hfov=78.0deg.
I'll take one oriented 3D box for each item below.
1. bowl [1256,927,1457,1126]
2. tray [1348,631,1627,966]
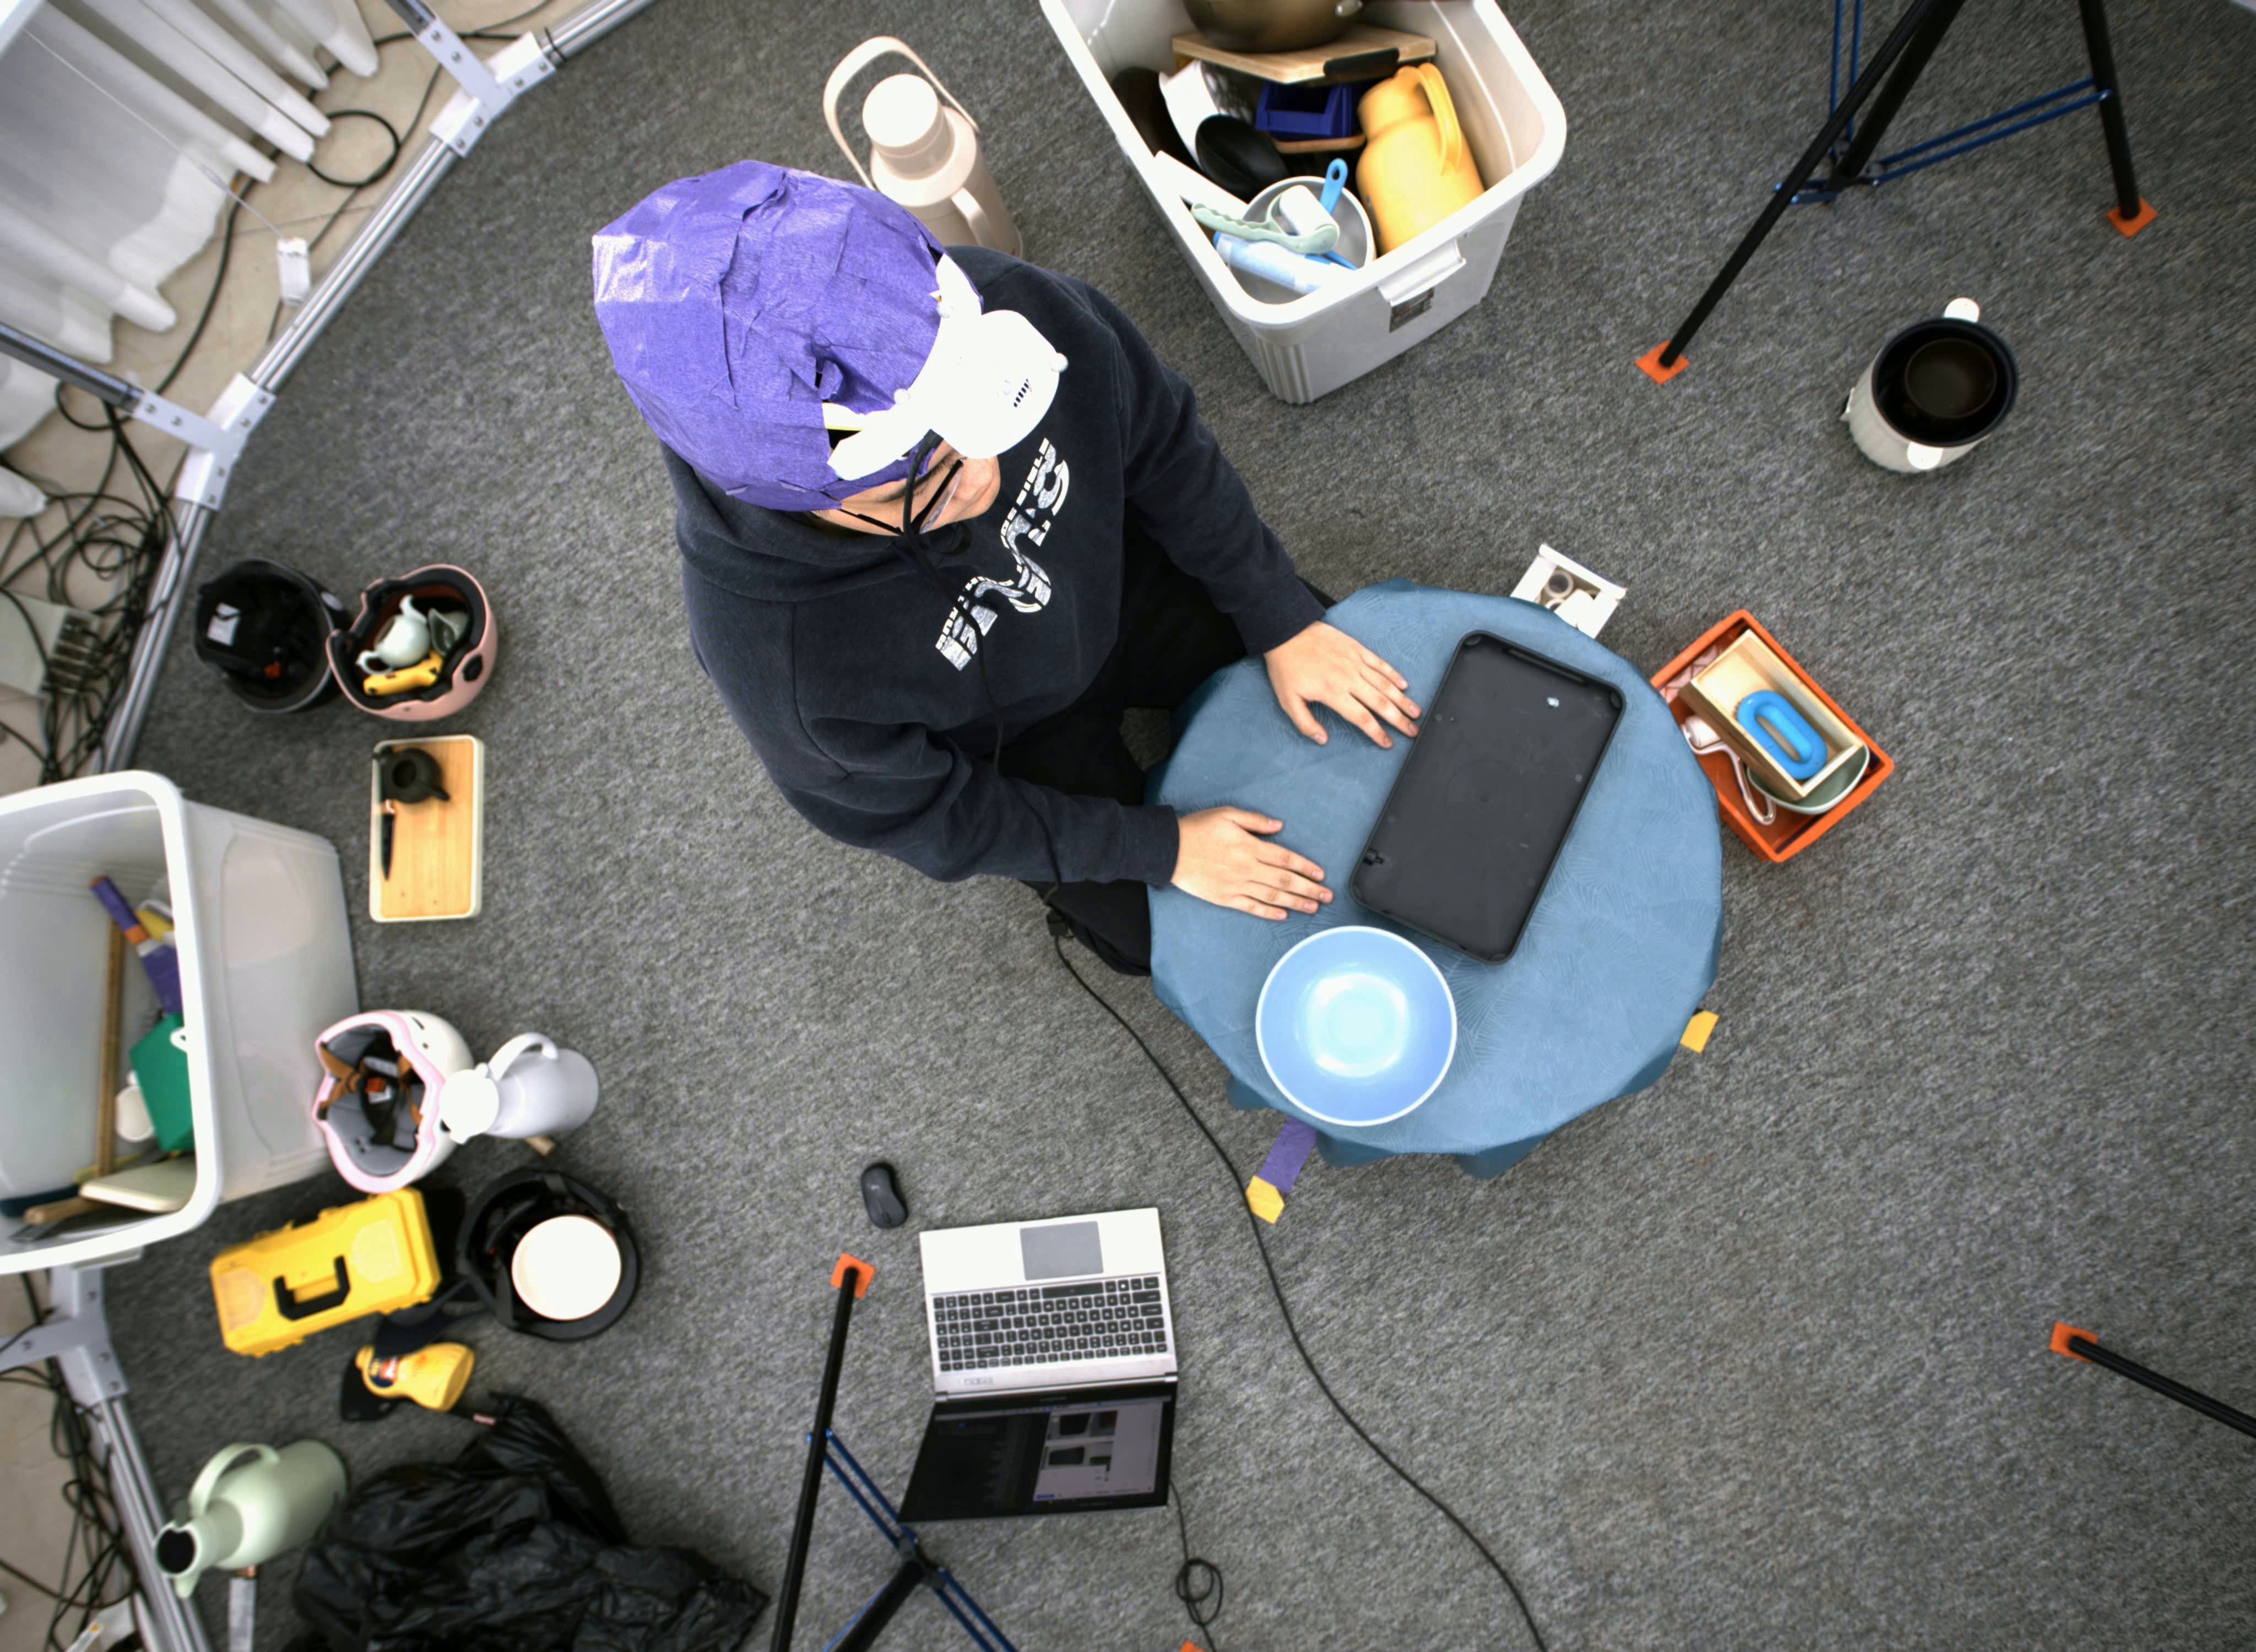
[{"bbox_3d":[0.232,0.200,1.410,0.197,0.095,0.196,-1,88,11],"label":"bowl"},{"bbox_3d":[0.372,-0.031,1.428,0.184,0.037,0.318,25,91,12],"label":"tray"}]
